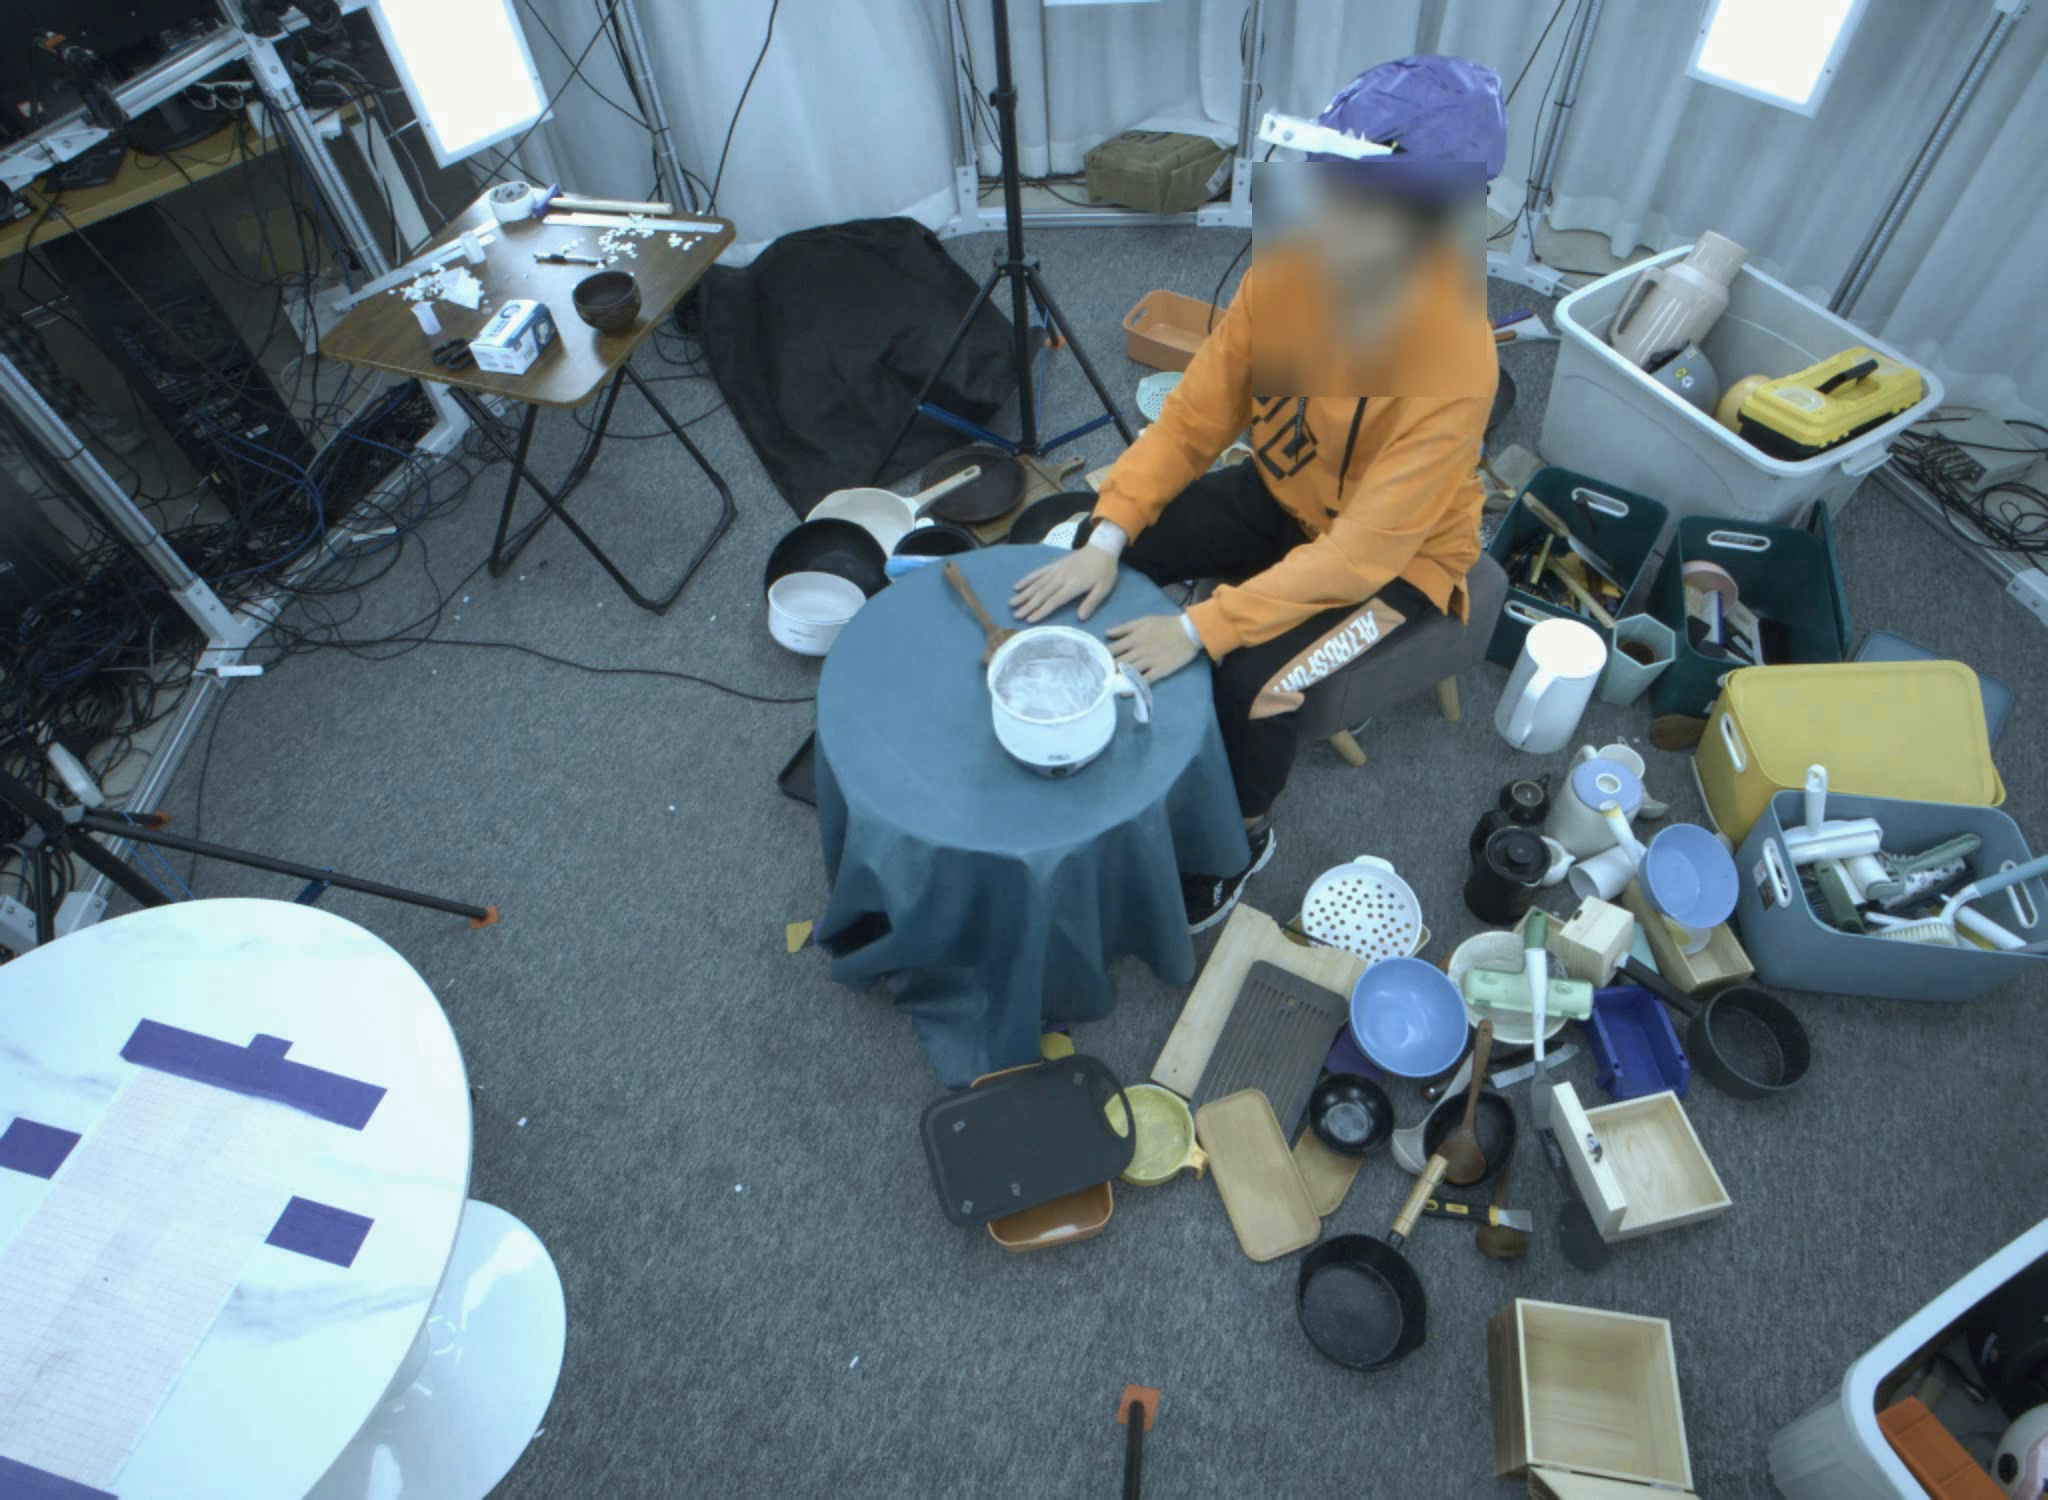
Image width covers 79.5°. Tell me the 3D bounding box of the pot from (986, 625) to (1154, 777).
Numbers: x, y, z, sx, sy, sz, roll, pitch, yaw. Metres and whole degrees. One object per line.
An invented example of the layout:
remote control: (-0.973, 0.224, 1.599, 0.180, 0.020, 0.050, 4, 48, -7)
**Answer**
pot: (0.068, -0.072, 1.750, 0.234, 0.138, 0.176, -6, 55, -1)

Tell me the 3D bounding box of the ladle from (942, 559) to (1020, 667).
ladle: (-0.080, -0.225, 1.911, 0.076, 0.066, 0.255, -35, 59, 5)
